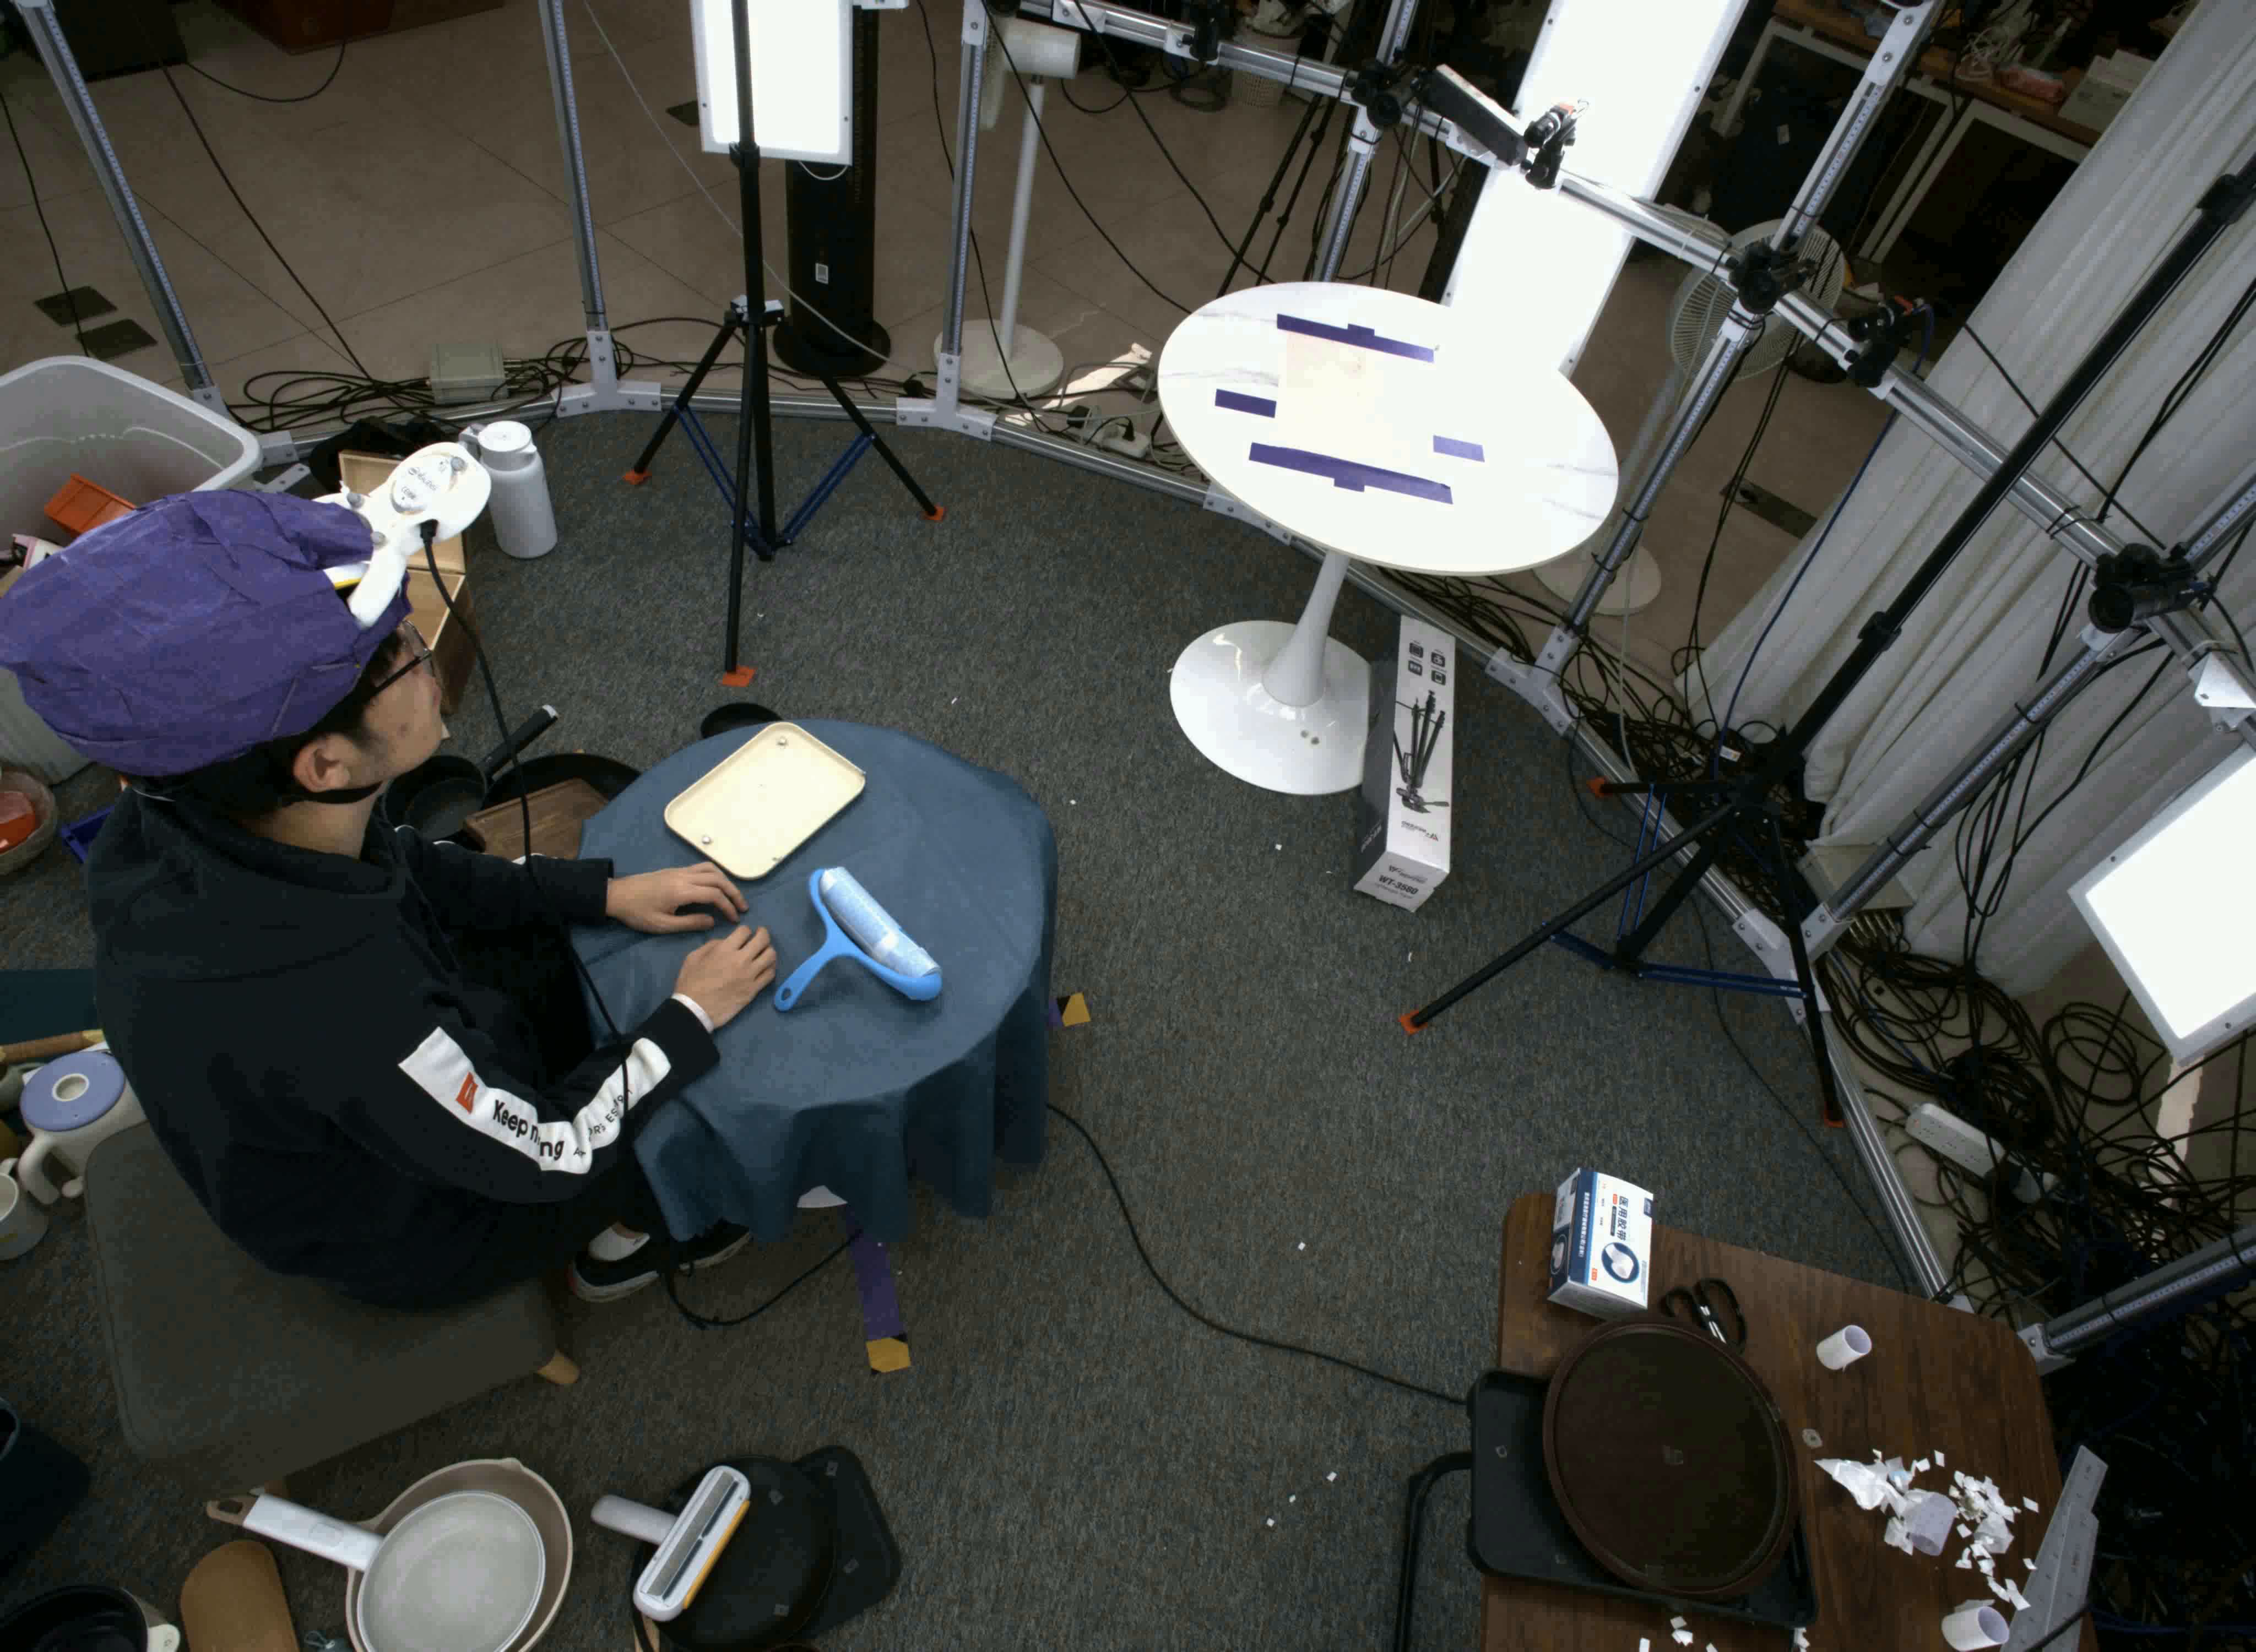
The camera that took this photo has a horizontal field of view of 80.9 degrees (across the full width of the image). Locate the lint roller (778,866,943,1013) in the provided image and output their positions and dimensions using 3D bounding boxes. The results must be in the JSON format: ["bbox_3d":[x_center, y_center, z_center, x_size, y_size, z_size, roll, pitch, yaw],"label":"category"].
[{"bbox_3d":[-0.353,0.159,1.595,0.224,0.069,0.180,41,54,14],"label":"lint roller"}]

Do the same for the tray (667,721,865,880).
[{"bbox_3d":[-0.481,-0.037,1.730,0.168,0.018,0.239,34,53,12],"label":"tray"}]
